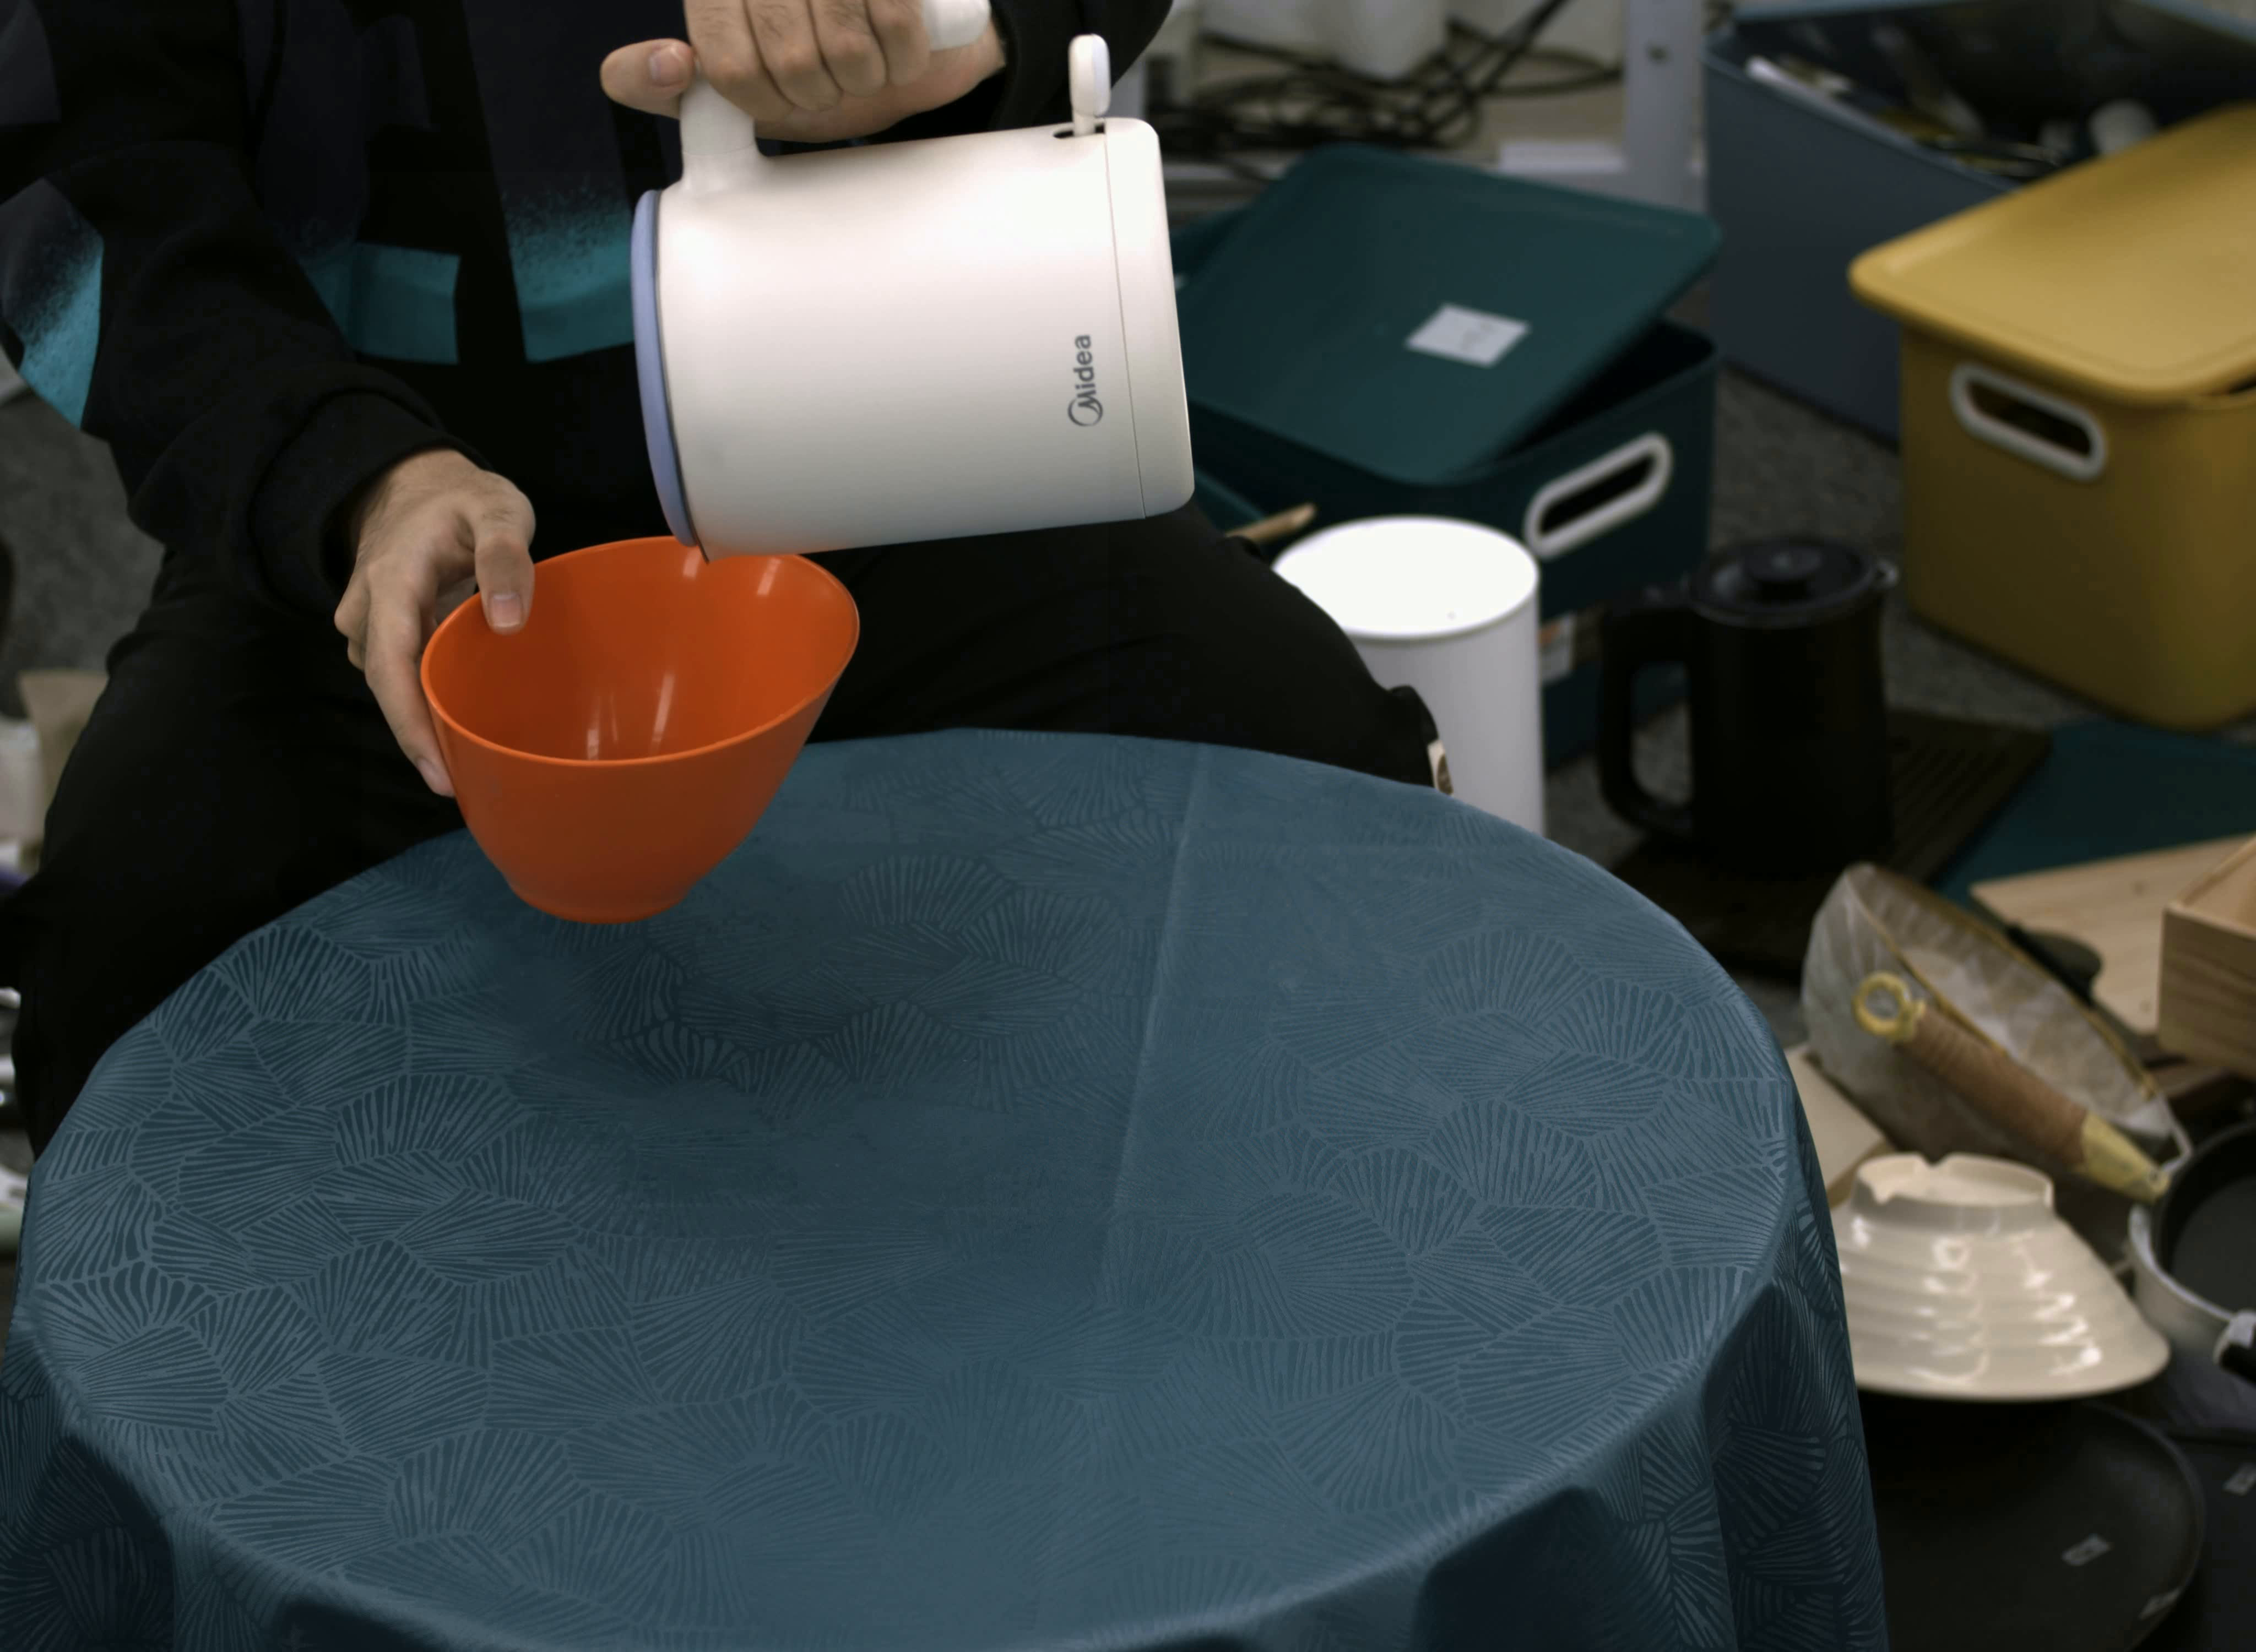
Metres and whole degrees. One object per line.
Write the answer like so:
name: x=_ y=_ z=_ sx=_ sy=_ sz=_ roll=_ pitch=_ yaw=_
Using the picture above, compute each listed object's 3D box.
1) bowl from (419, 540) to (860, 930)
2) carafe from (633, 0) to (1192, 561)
bowl: x=-0.168 y=-0.024 z=1.912 sx=0.147 sy=0.103 sz=0.150 roll=5 pitch=31 yaw=-3
carafe: x=-0.070 y=-0.184 z=1.842 sx=0.182 sy=0.190 sz=0.133 roll=-4 pitch=19 yaw=-1
